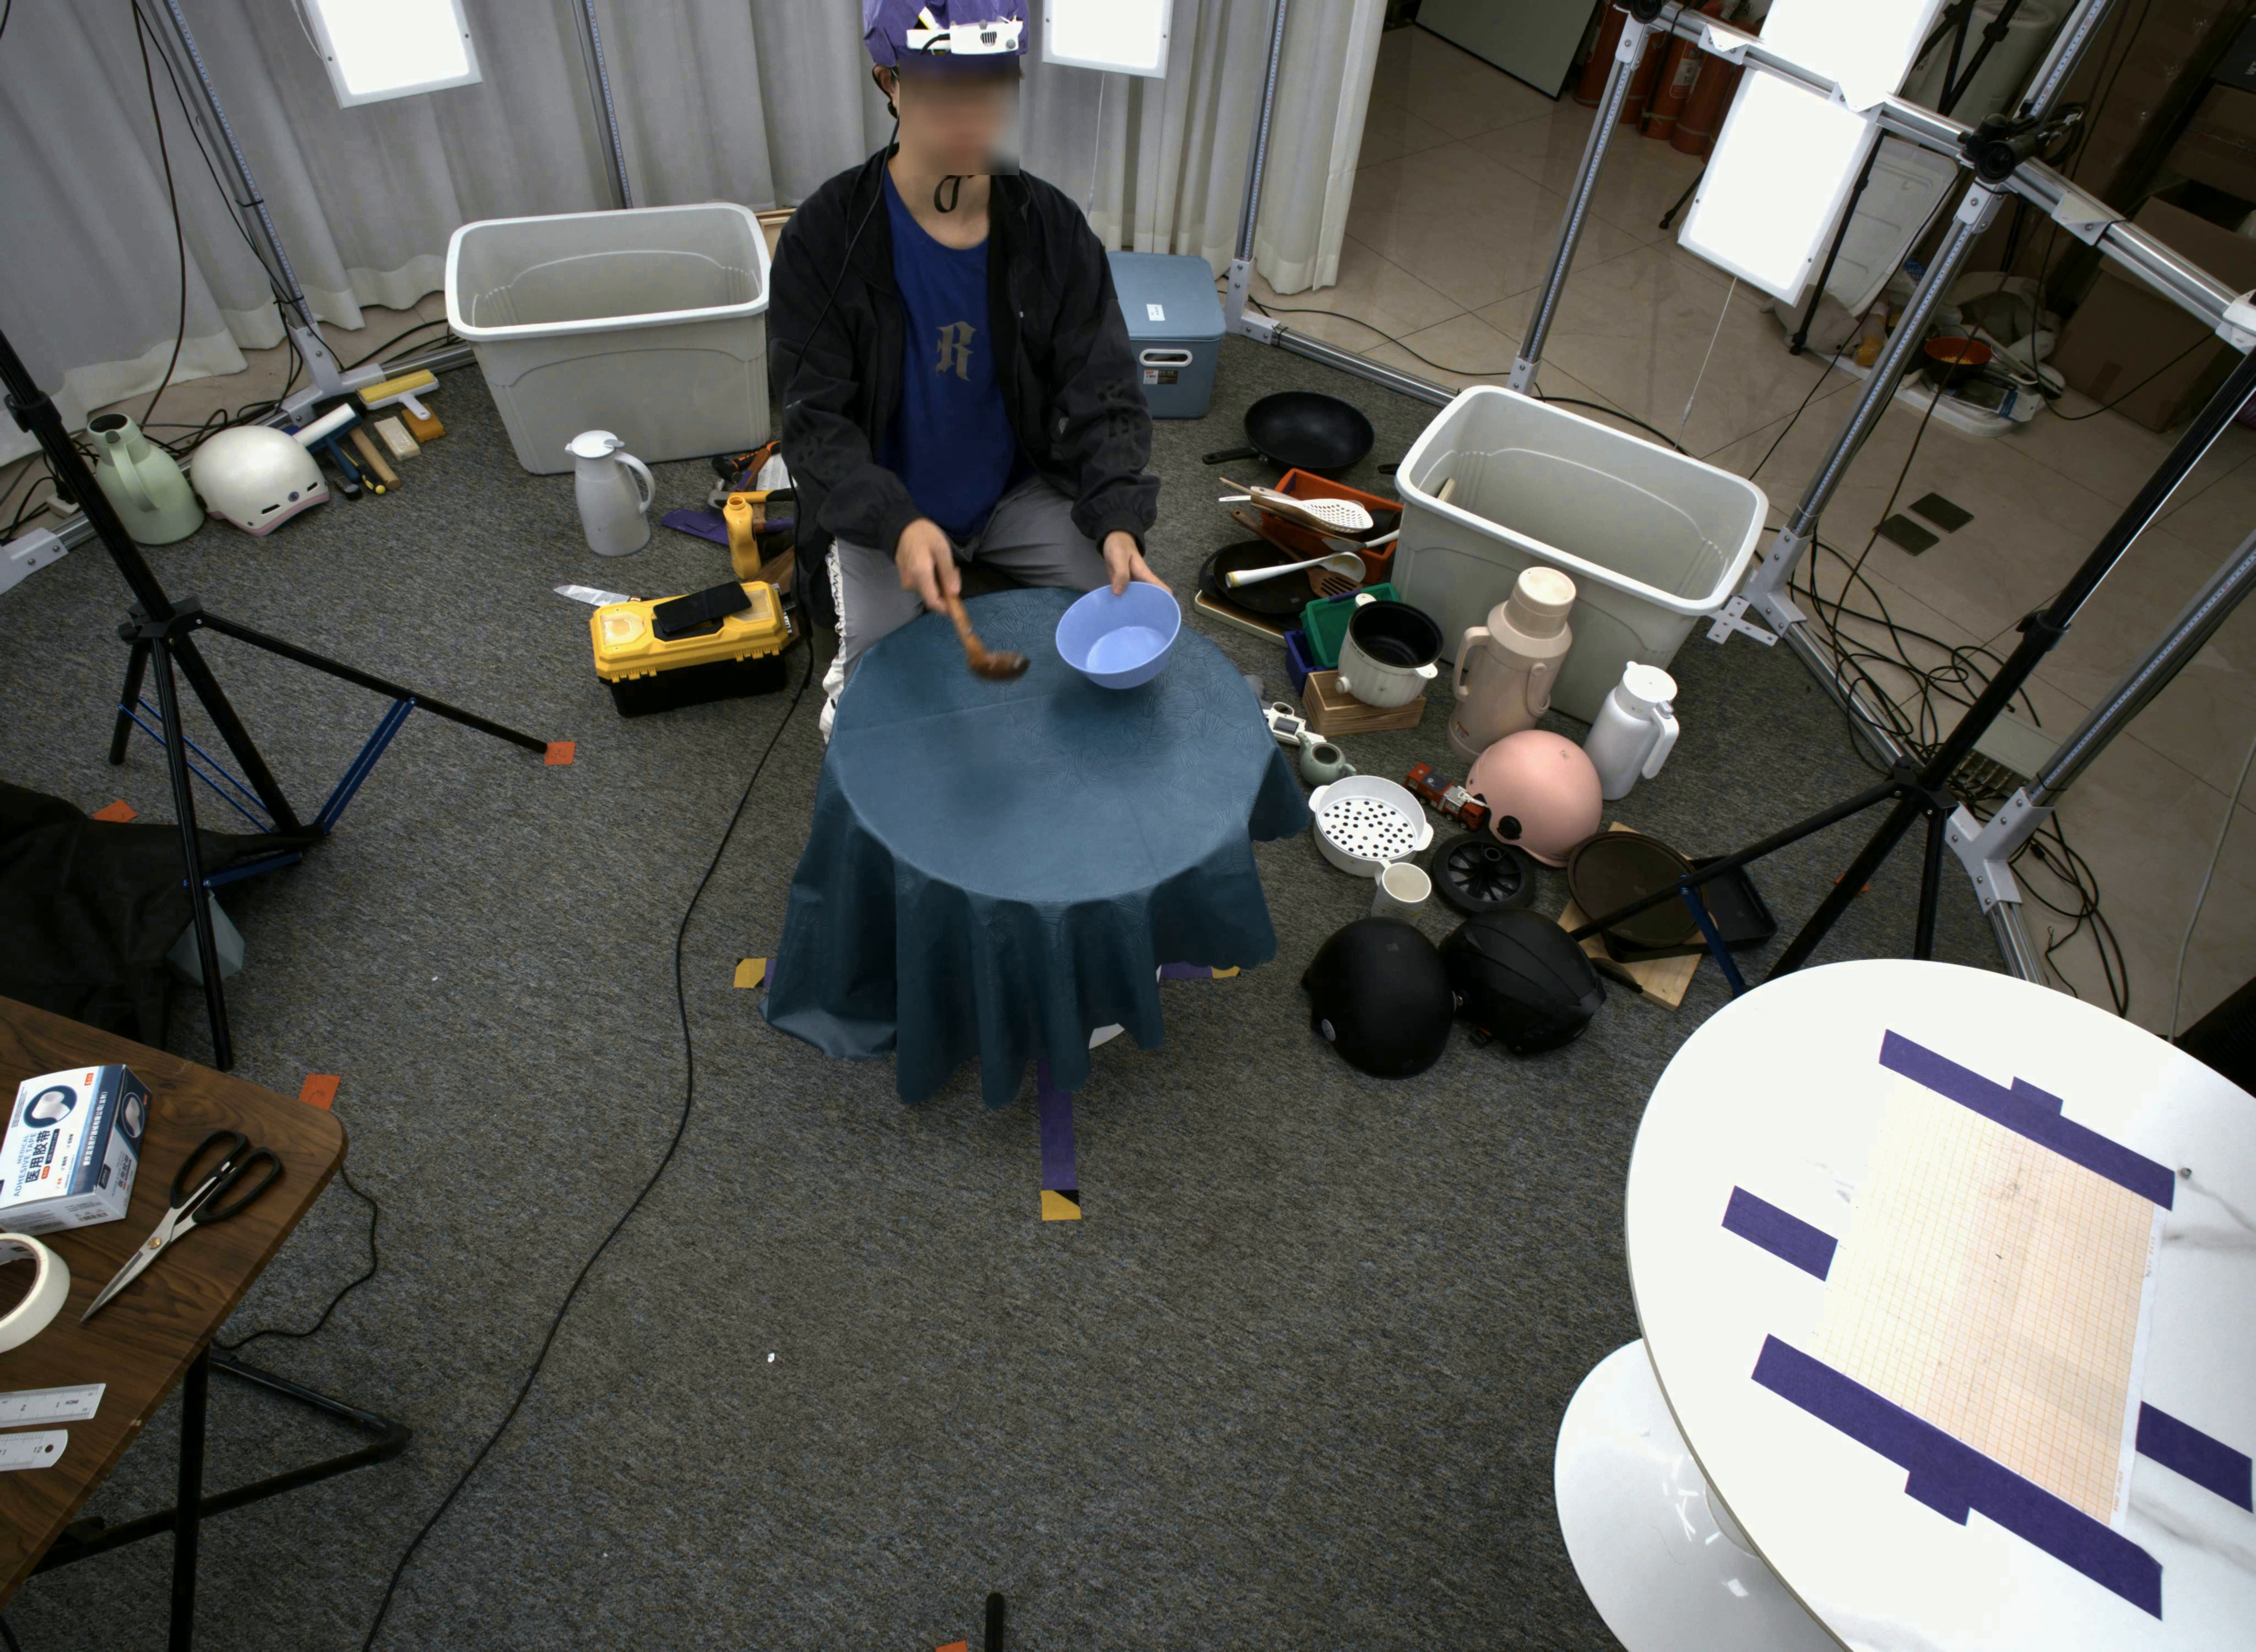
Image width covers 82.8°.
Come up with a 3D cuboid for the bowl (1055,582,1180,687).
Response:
[{"bbox_3d":[-0.008,-0.257,1.788,0.176,0.068,0.180,-9,50,10],"label":"bowl"}]

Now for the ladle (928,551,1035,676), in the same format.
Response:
[{"bbox_3d":[-0.204,-0.297,1.711,0.081,0.075,0.280,5,45,-40],"label":"ladle"}]
